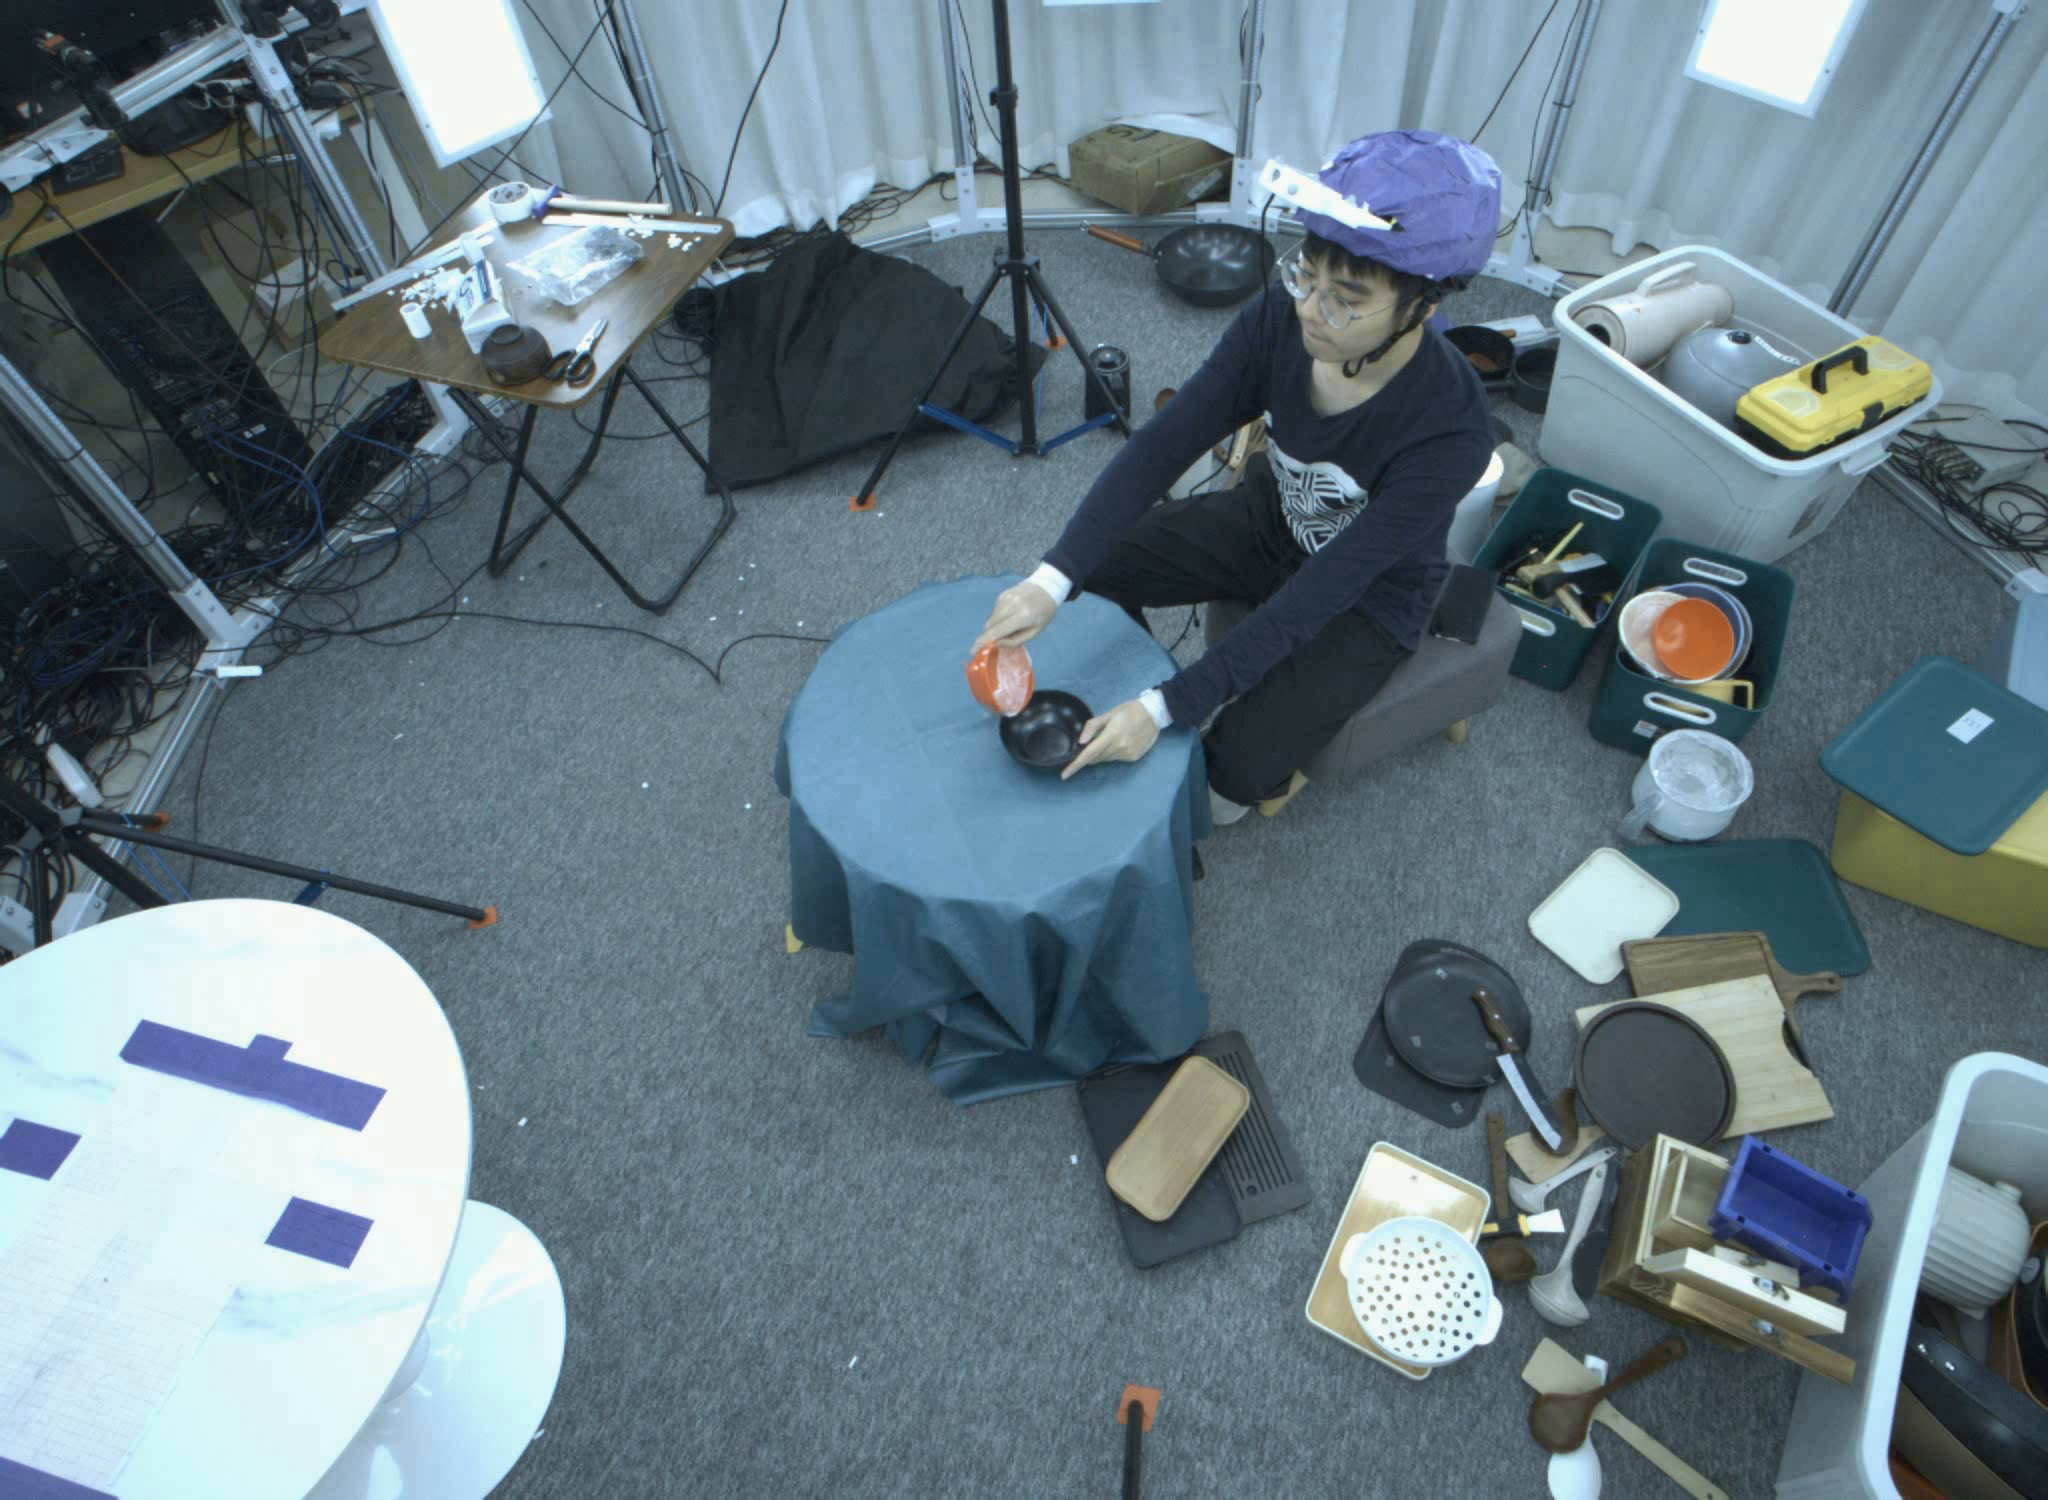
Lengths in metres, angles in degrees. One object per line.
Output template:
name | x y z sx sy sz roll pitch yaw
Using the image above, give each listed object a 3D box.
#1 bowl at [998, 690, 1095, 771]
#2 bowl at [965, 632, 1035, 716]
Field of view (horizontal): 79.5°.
bowl | 0.033 -0.020 1.781 0.140 0.050 0.138 2 52 -1
bowl | -0.039 -0.104 1.724 0.050 0.121 0.118 -5 49 36
